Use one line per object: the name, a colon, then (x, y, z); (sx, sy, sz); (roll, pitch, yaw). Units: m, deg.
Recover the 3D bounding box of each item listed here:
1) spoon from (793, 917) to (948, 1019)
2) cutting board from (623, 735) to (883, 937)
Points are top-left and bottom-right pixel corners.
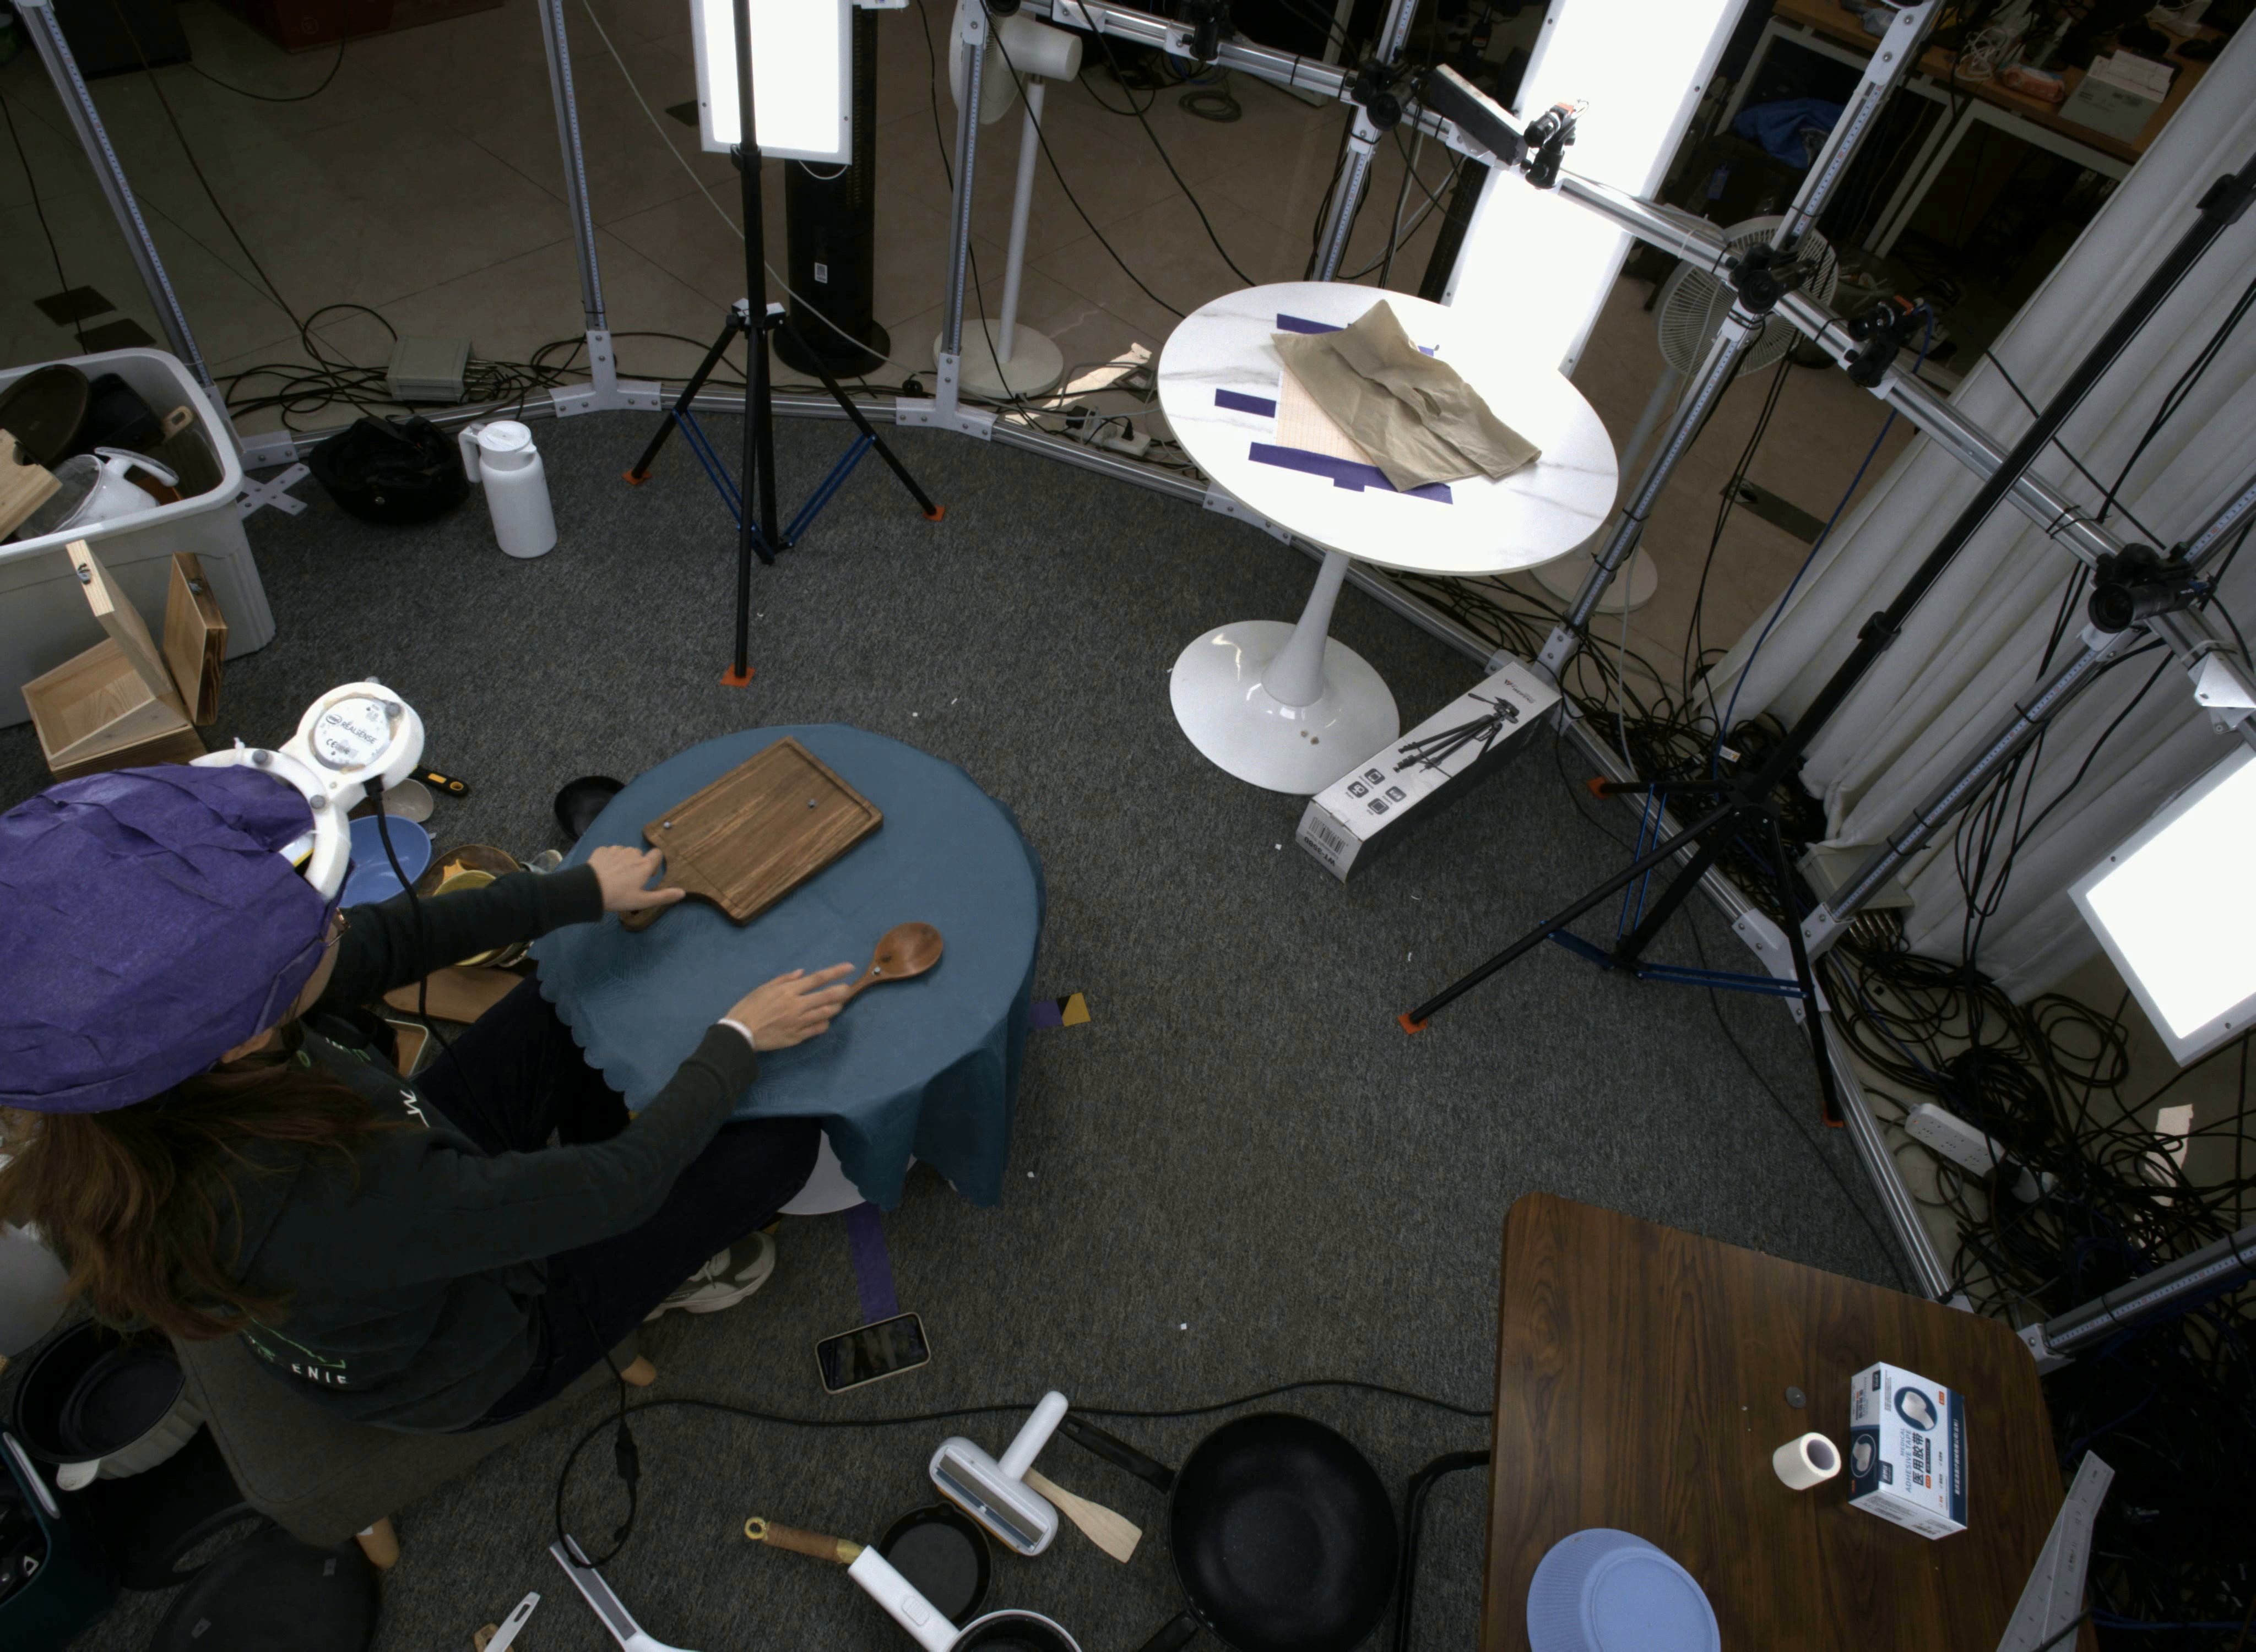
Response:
spoon: (-0.321, 0.178, 1.621); (0.216, 0.018, 0.073); (-29, 63, -26)
cutting board: (-0.509, 0.027, 1.676); (0.197, 0.023, 0.352); (39, 55, 14)
